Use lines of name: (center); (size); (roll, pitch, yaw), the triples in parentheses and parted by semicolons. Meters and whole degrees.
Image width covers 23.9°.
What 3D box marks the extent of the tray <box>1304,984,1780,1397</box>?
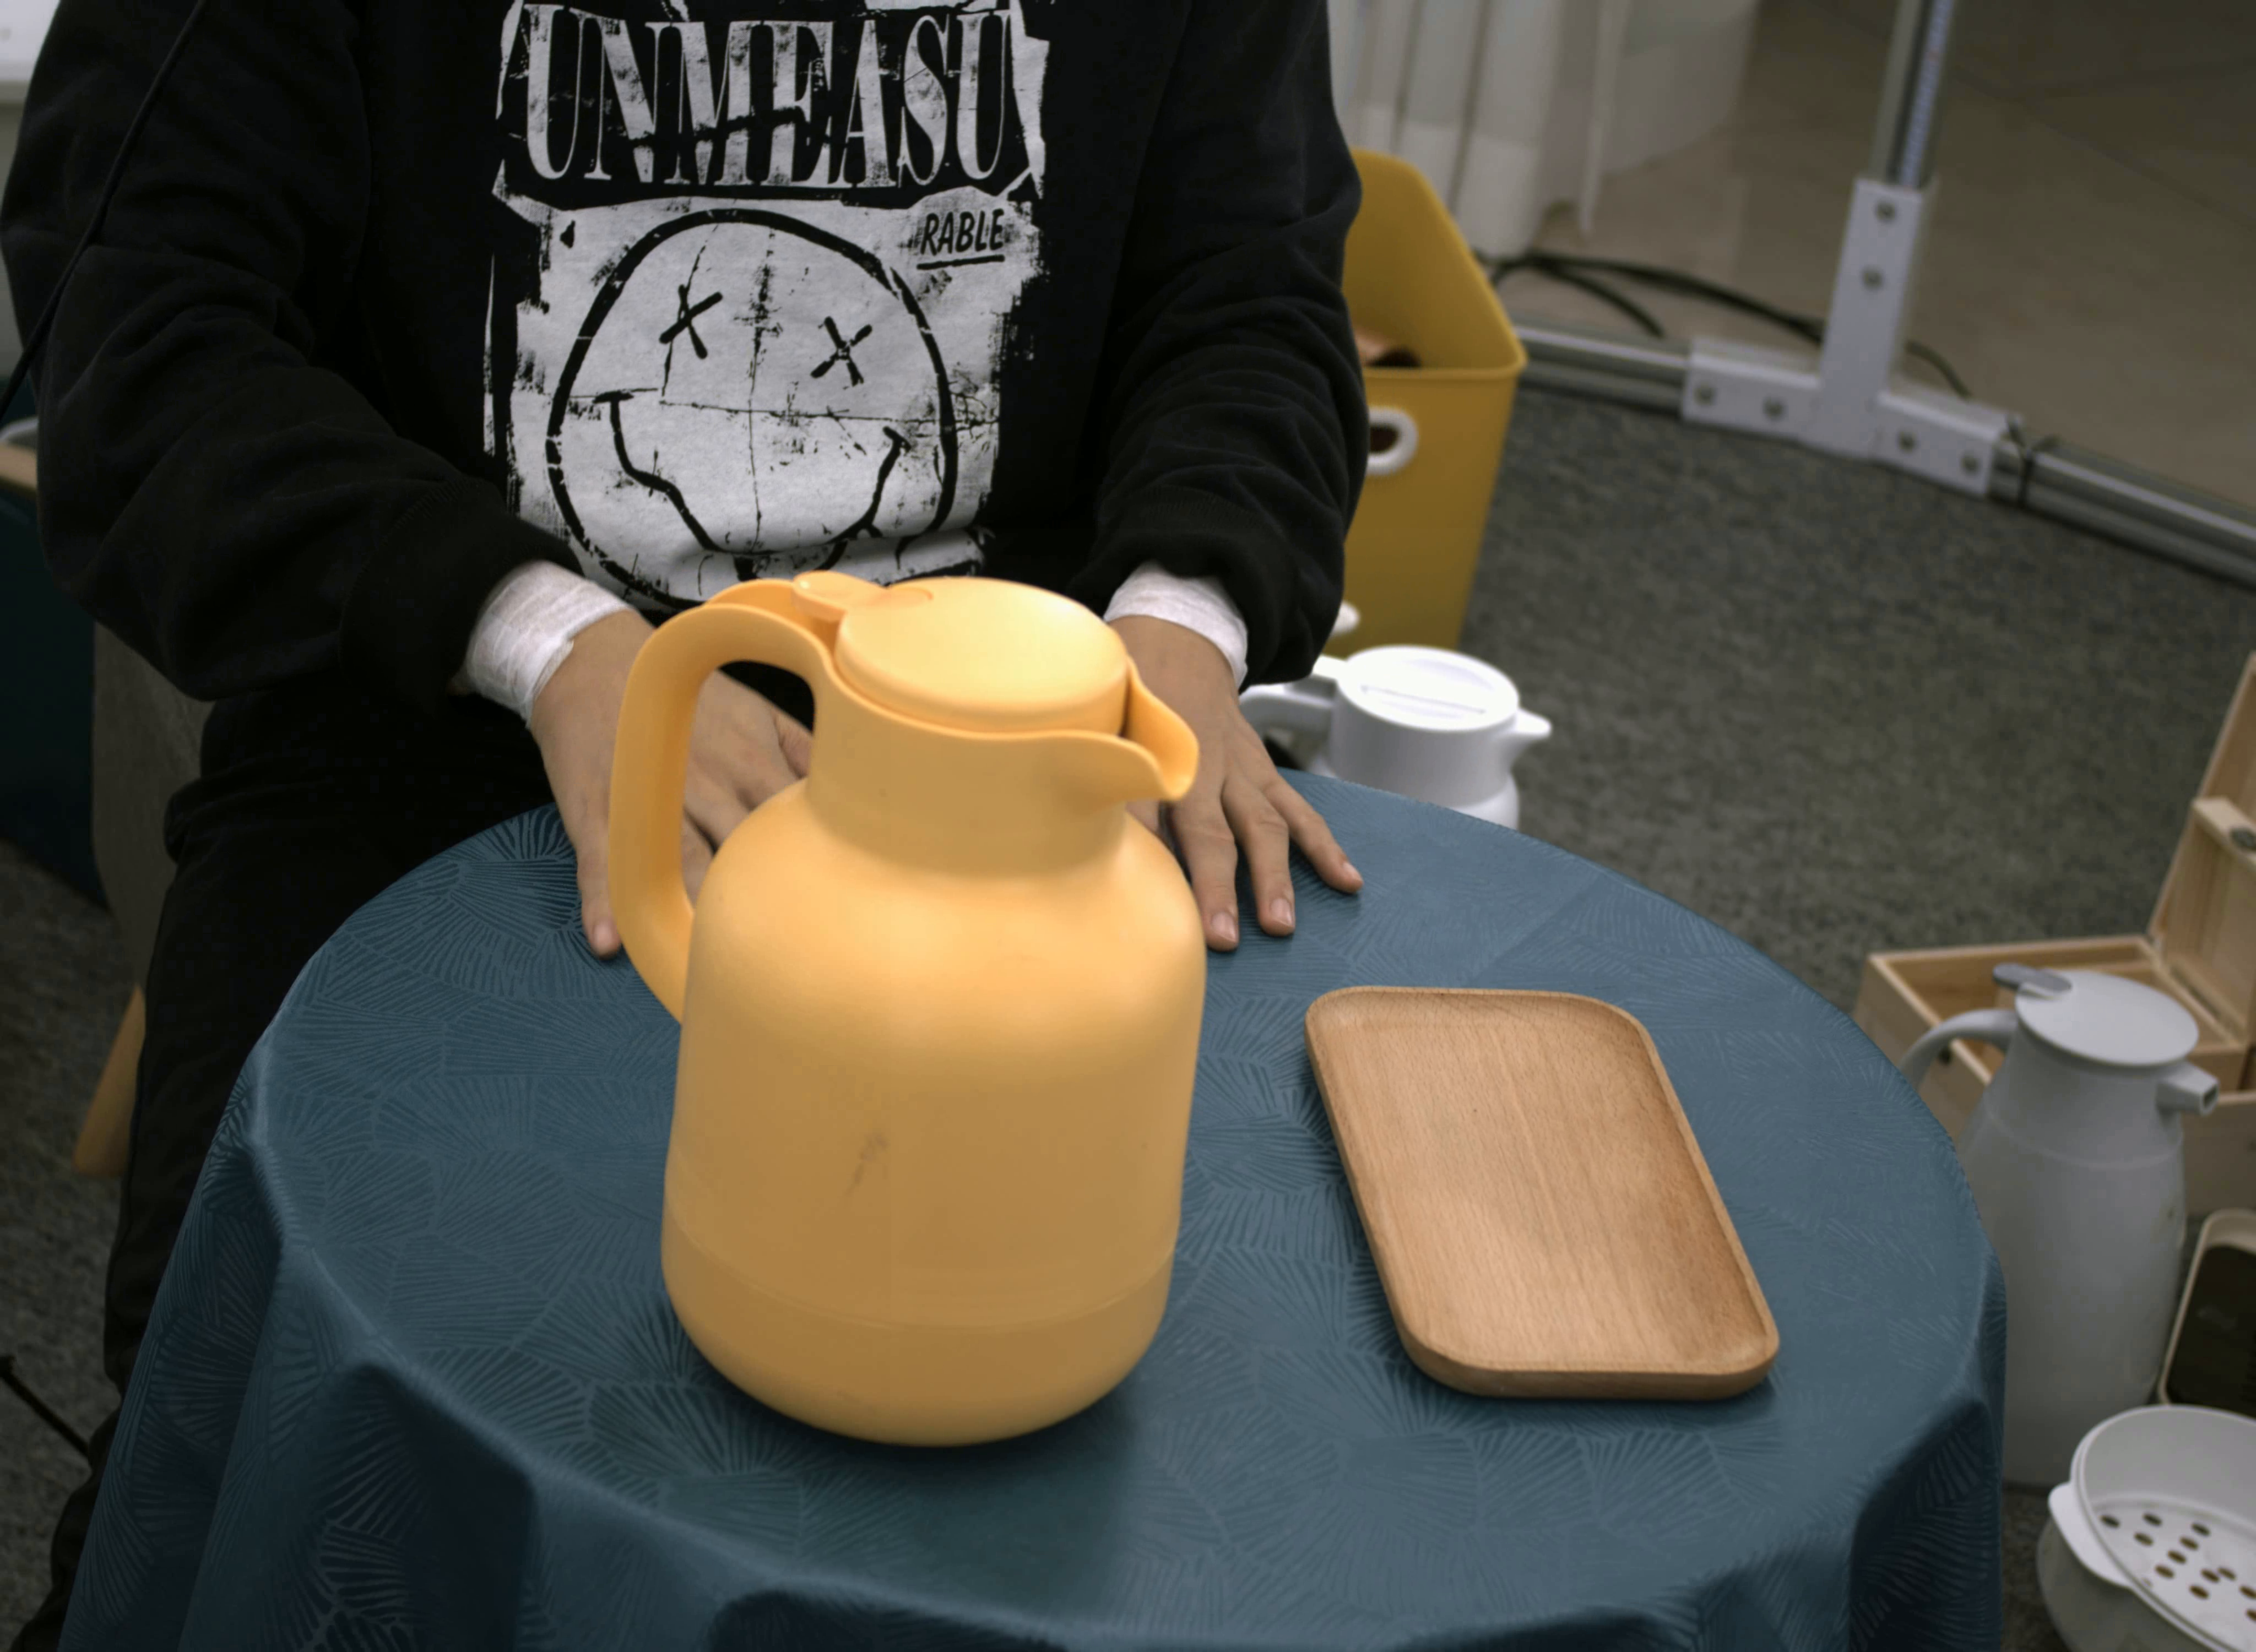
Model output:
tray: (0.137, 0.122, 1.820); (0.130, 0.023, 0.252); (4, 26, -9)

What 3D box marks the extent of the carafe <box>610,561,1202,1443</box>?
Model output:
carafe: (-0.074, 0.044, 1.657); (0.203, 0.260, 0.163); (23, 28, 26)
